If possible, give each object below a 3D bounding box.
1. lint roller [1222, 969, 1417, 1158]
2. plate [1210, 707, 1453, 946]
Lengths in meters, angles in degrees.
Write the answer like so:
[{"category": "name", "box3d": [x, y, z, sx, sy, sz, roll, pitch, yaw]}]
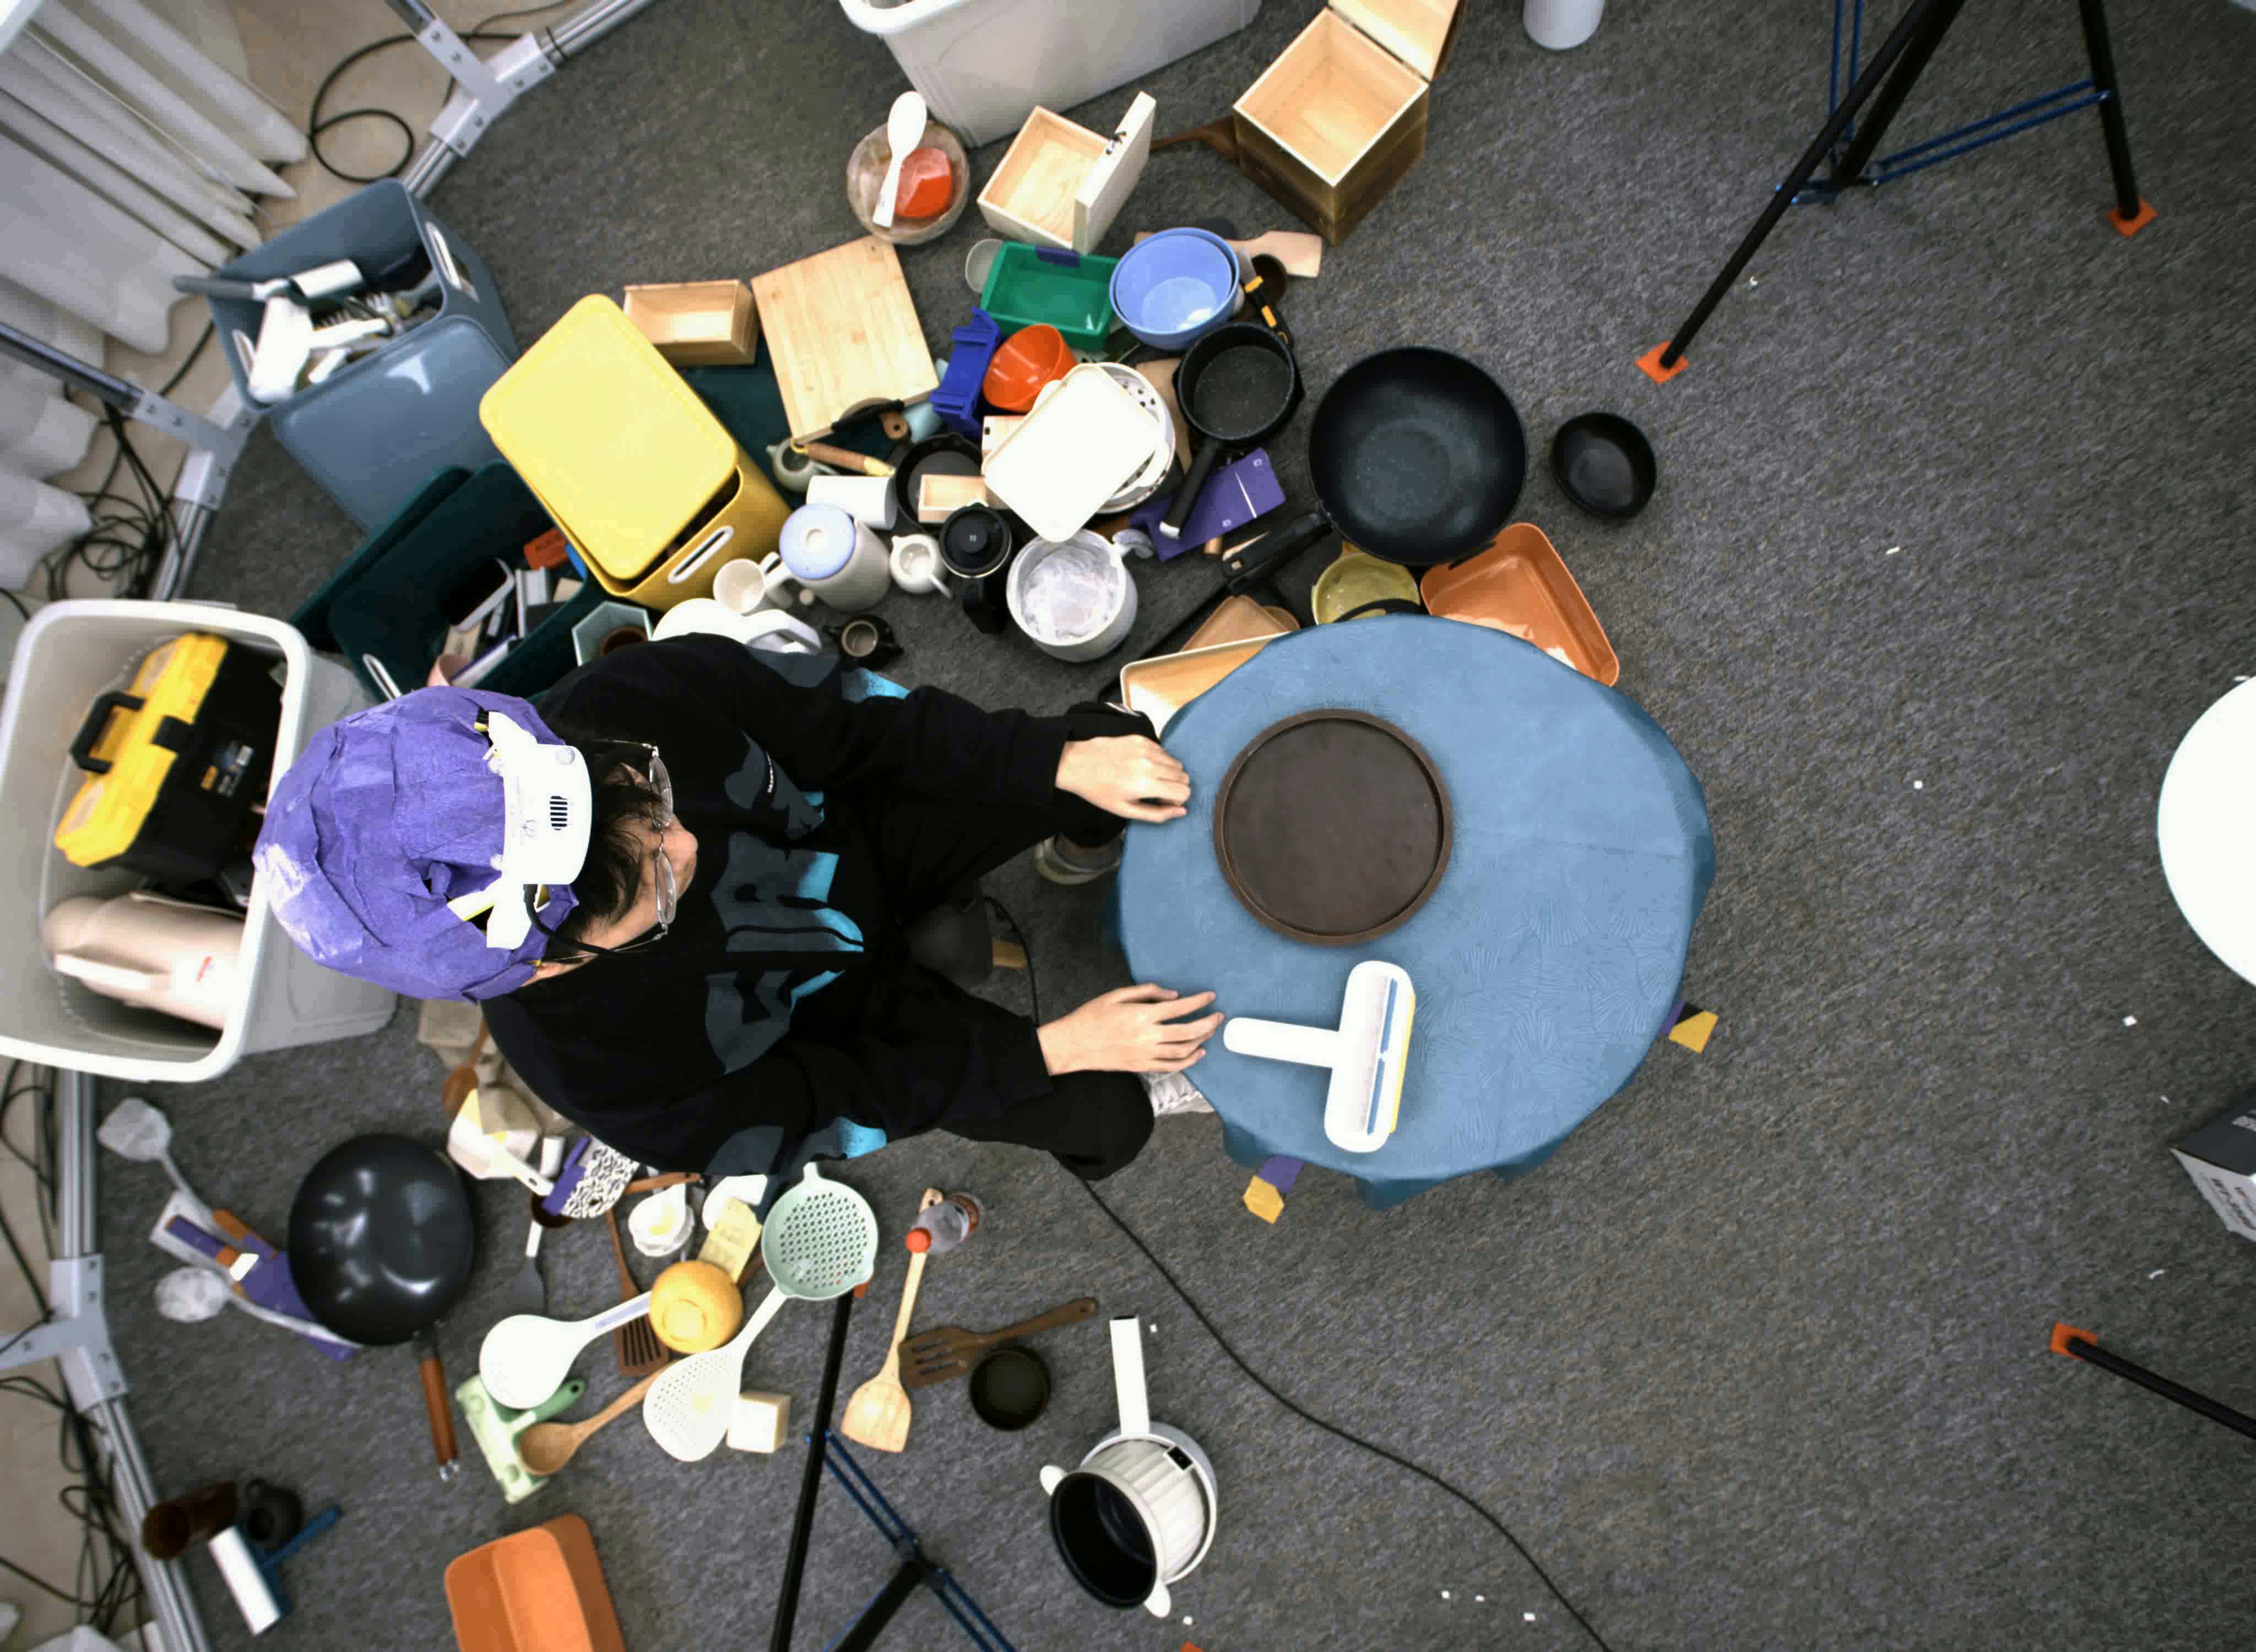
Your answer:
[{"category": "lint roller", "box3d": [0.188, 0.228, 1.428, 0.193, 0.074, 0.191, 13, 84, 12]}, {"category": "plate", "box3d": [0.214, -0.001, 1.458, 0.256, 0.029, 0.254, -1, 87, 11]}]
